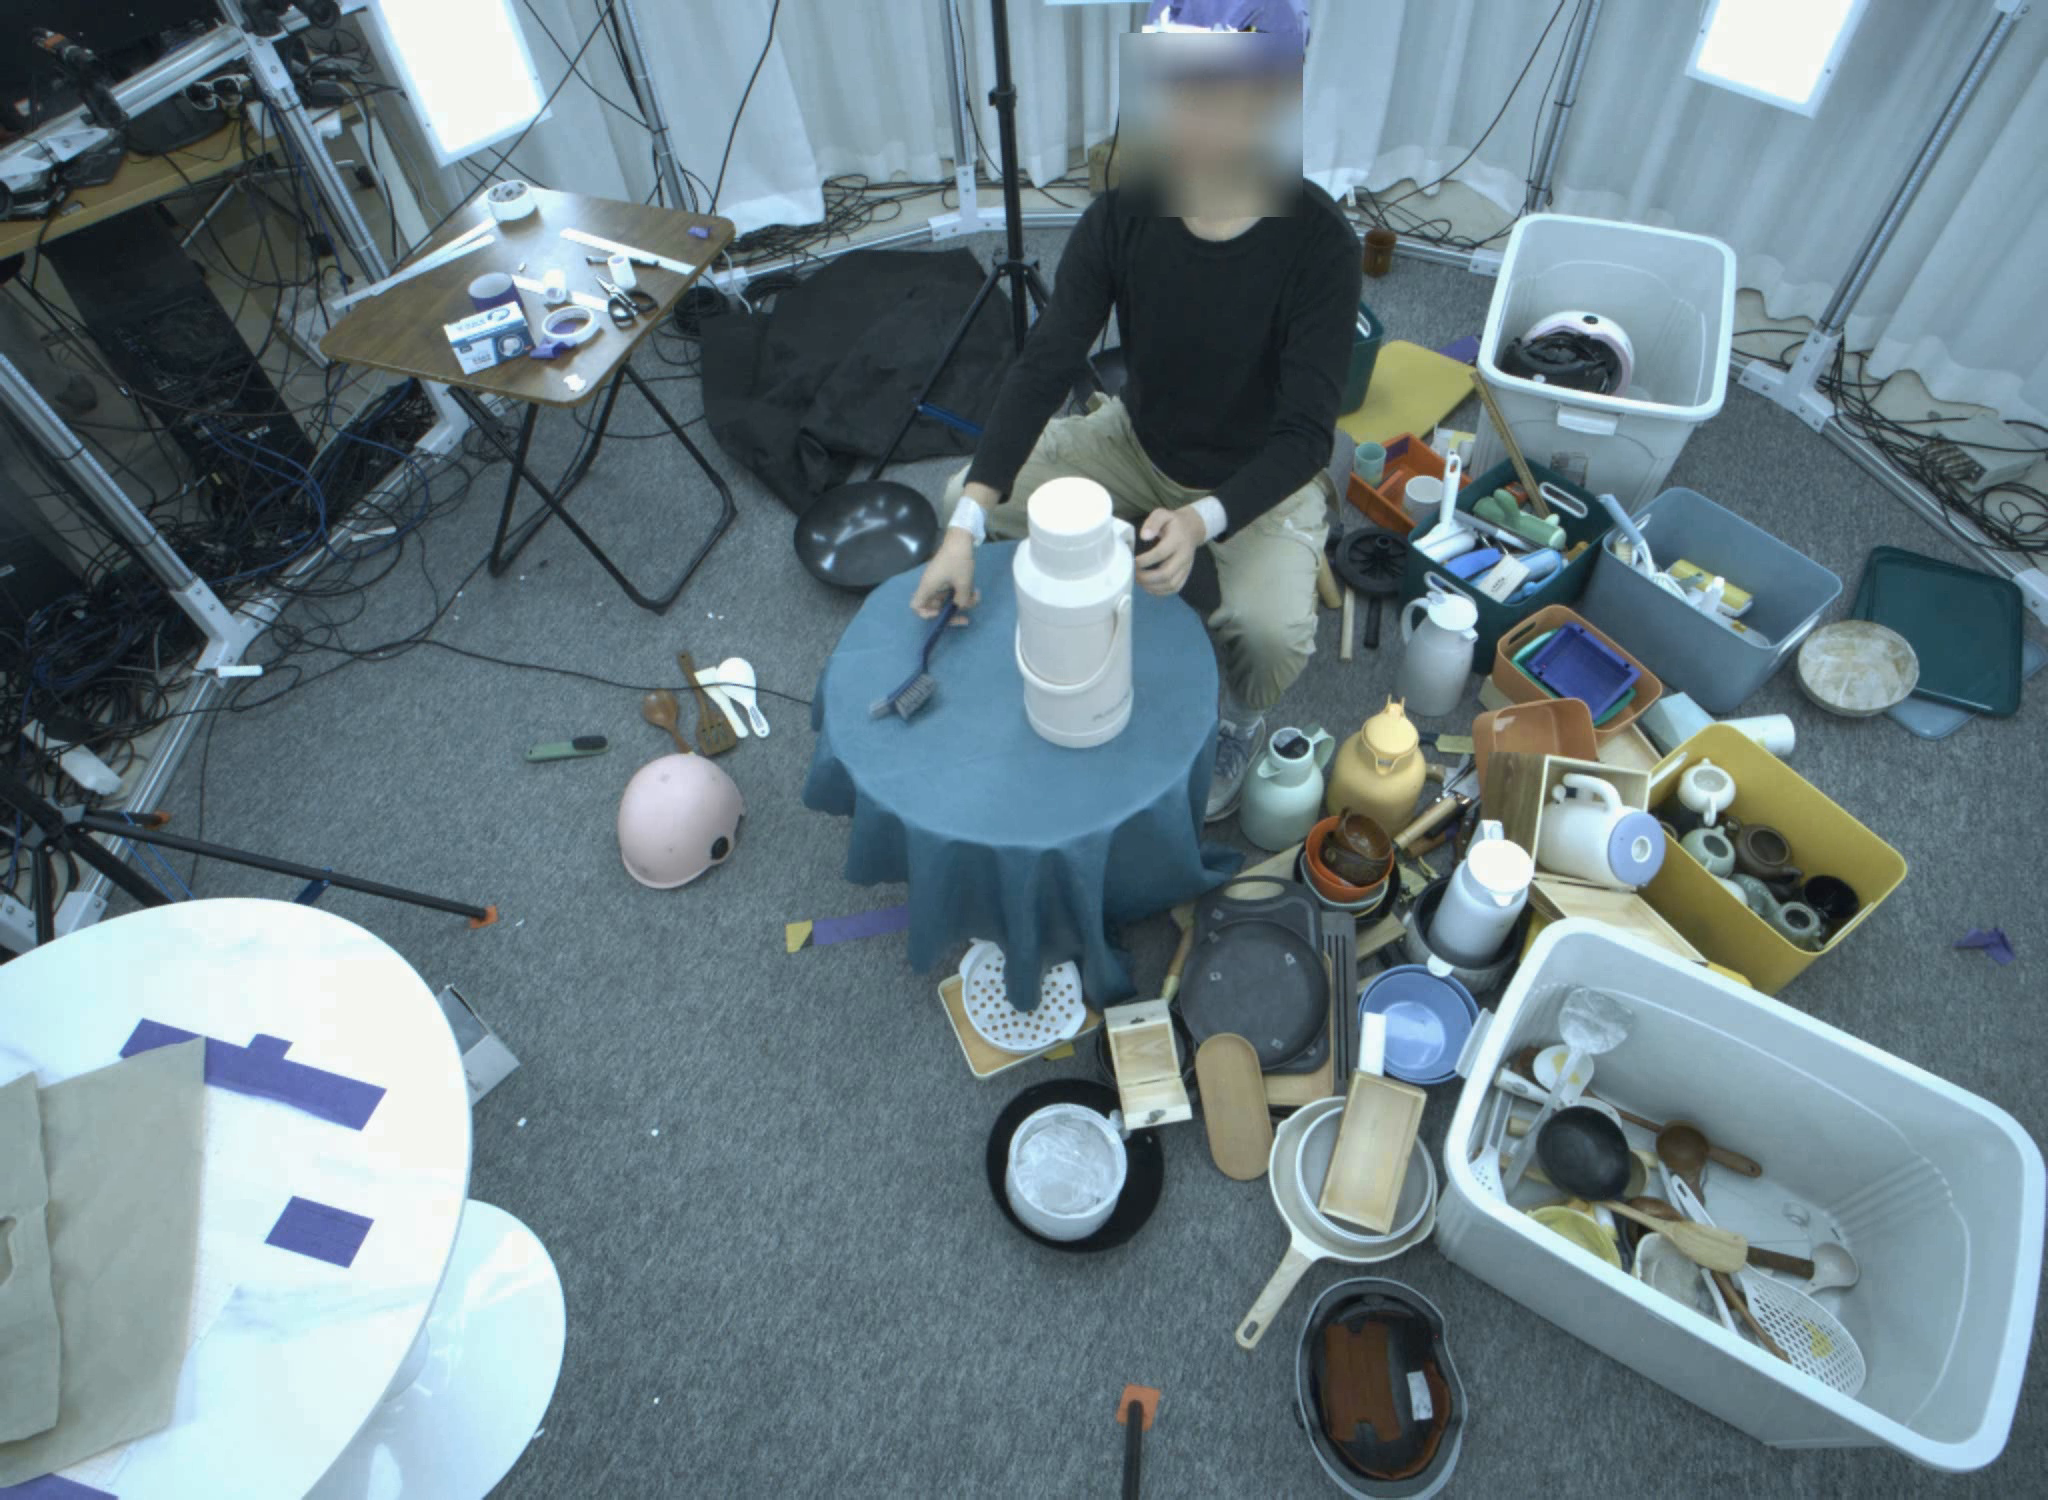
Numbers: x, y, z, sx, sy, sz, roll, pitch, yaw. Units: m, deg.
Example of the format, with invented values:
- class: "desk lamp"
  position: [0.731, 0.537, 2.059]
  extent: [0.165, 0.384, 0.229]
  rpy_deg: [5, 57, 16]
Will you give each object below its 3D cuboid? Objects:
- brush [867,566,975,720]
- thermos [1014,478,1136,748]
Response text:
- class: "brush"
  position: [-0.152, -0.166, 1.872]
  extent: [0.094, 0.034, 0.272]
  rpy_deg: [8, 63, 23]
- class: "thermos"
  position: [0.082, -0.191, 1.675]
  extent: [0.172, 0.411, 0.208]
  rpy_deg: [31, 63, 25]
